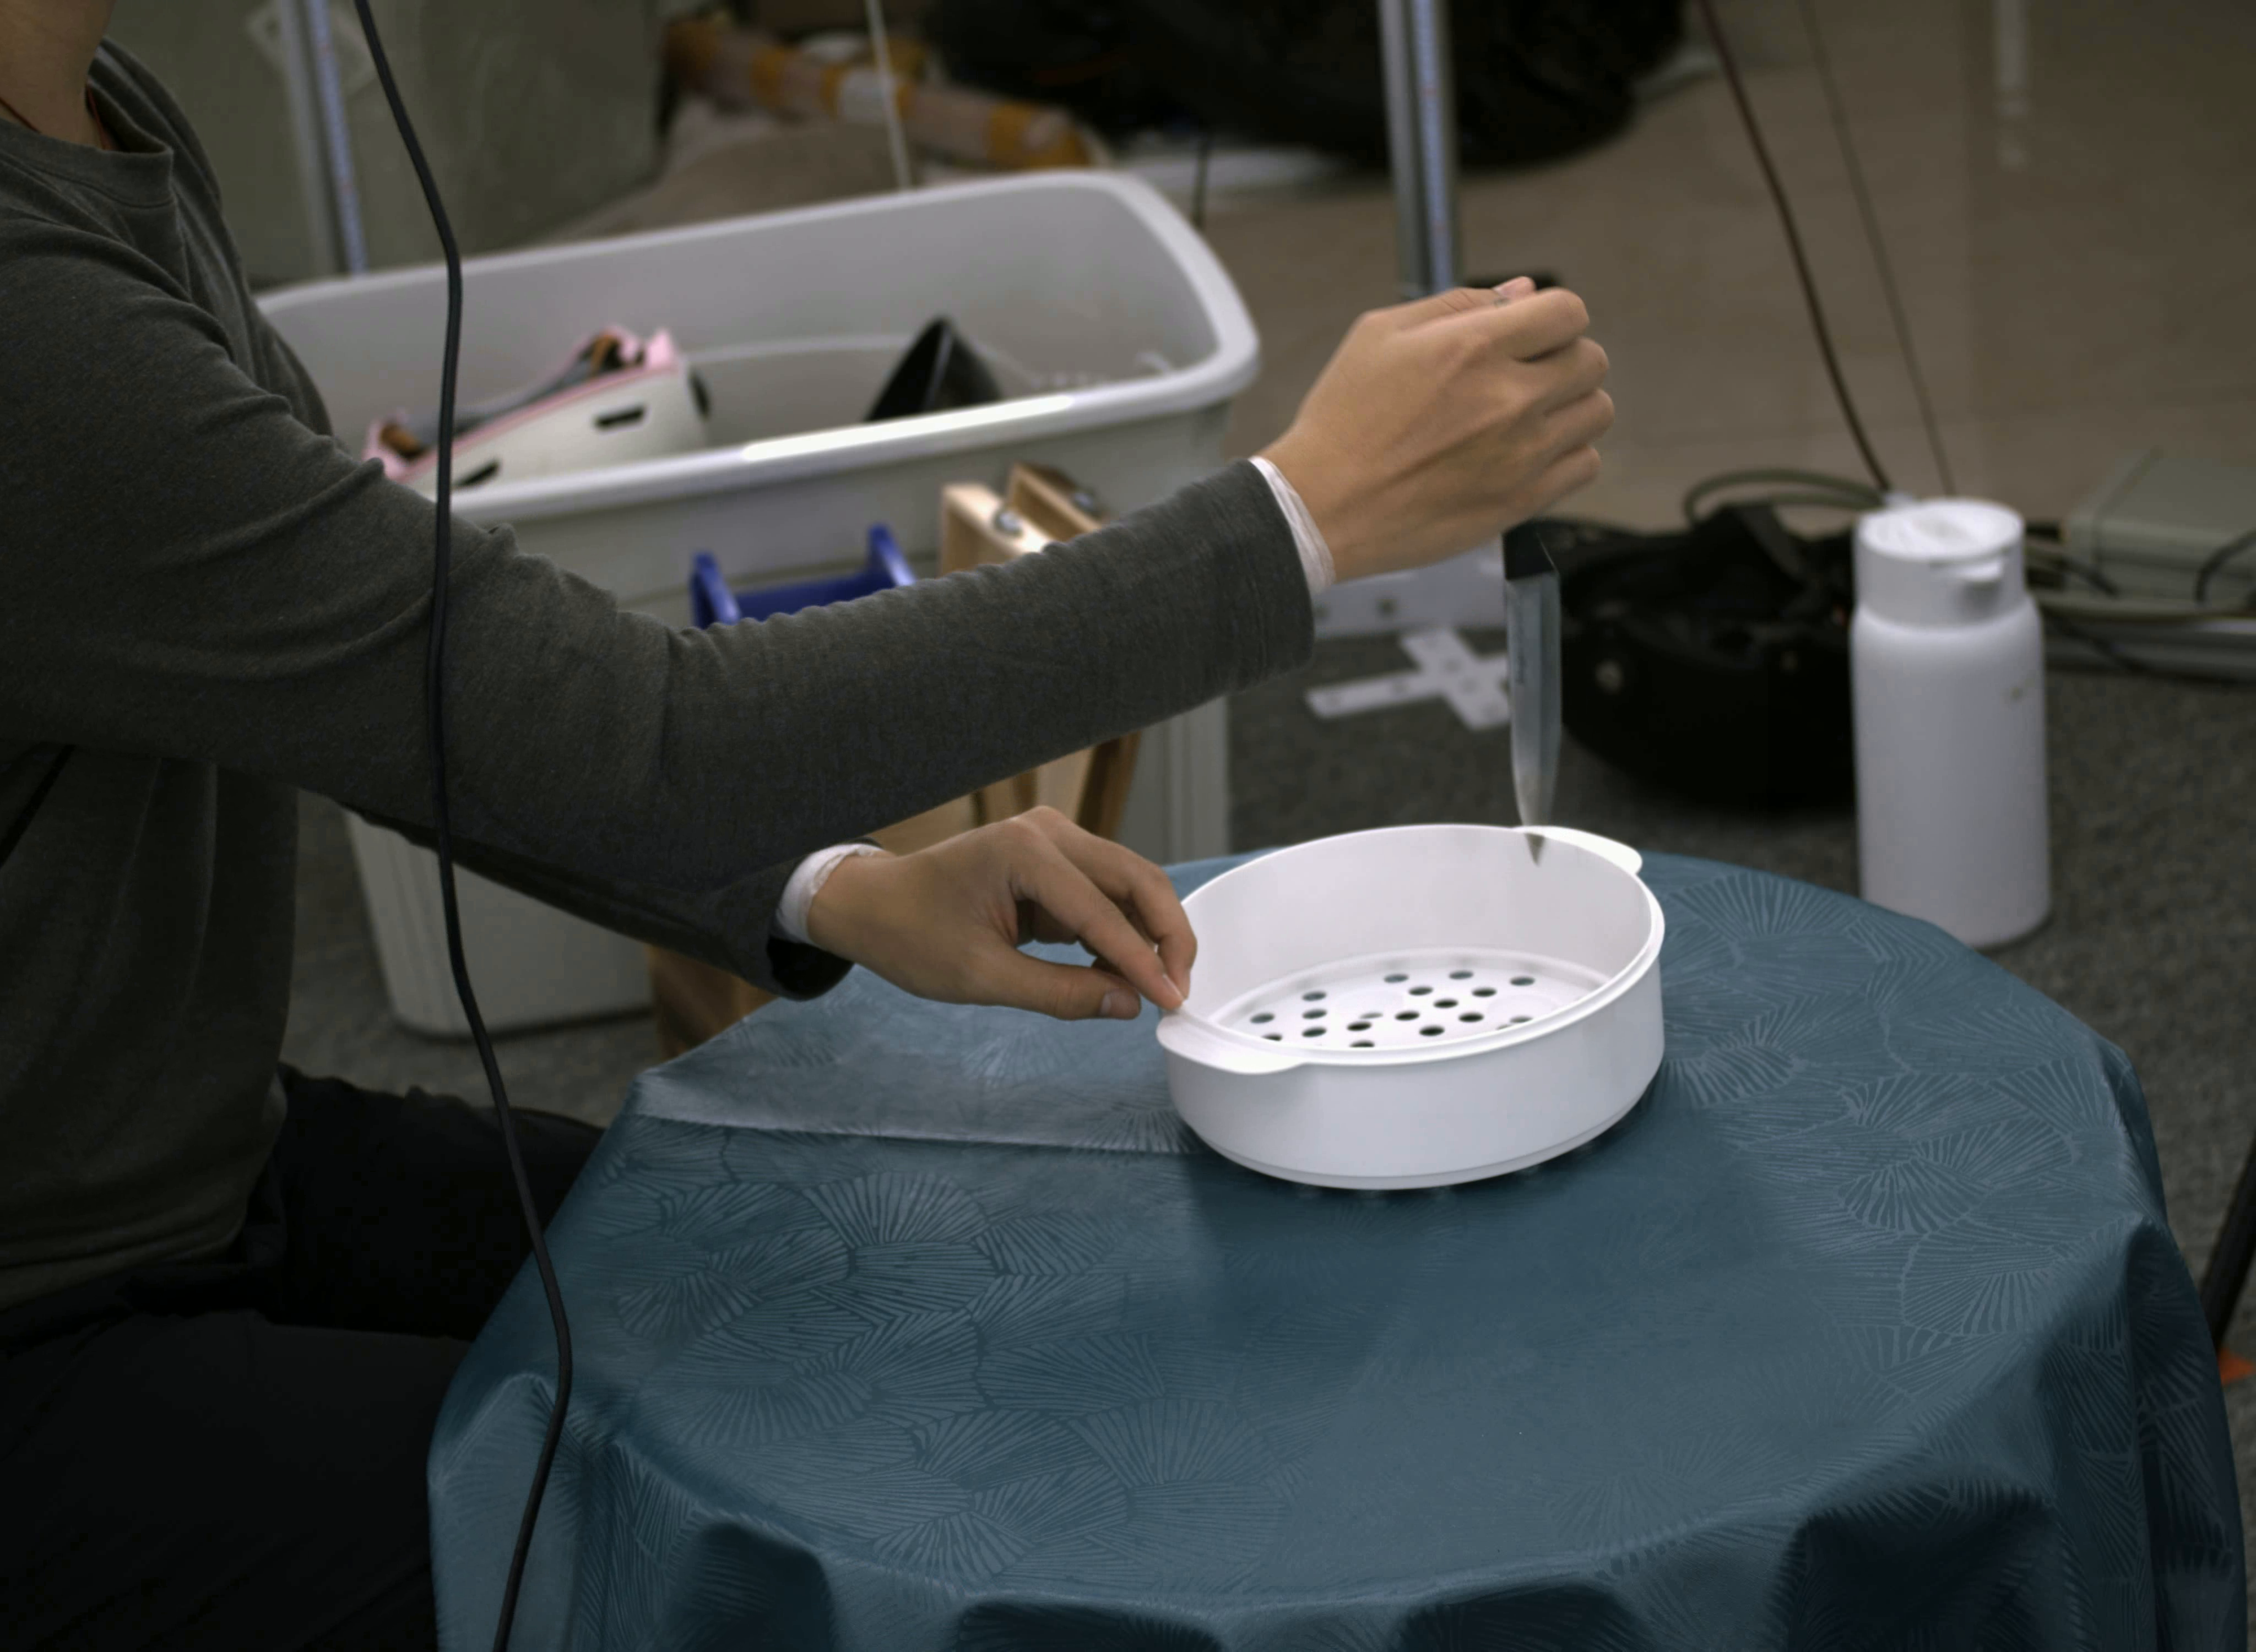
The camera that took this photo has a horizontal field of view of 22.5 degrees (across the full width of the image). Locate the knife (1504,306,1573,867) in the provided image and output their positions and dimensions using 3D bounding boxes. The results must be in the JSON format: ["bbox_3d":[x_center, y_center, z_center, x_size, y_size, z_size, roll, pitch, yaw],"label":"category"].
[{"bbox_3d":[0.156,-0.087,2.160,0.024,0.242,0.016,-11,31,-11],"label":"knife"}]

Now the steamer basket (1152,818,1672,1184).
[{"bbox_3d":[0.112,0.069,2.194,0.228,0.070,0.200,-28,31,-36],"label":"steamer basket"}]
